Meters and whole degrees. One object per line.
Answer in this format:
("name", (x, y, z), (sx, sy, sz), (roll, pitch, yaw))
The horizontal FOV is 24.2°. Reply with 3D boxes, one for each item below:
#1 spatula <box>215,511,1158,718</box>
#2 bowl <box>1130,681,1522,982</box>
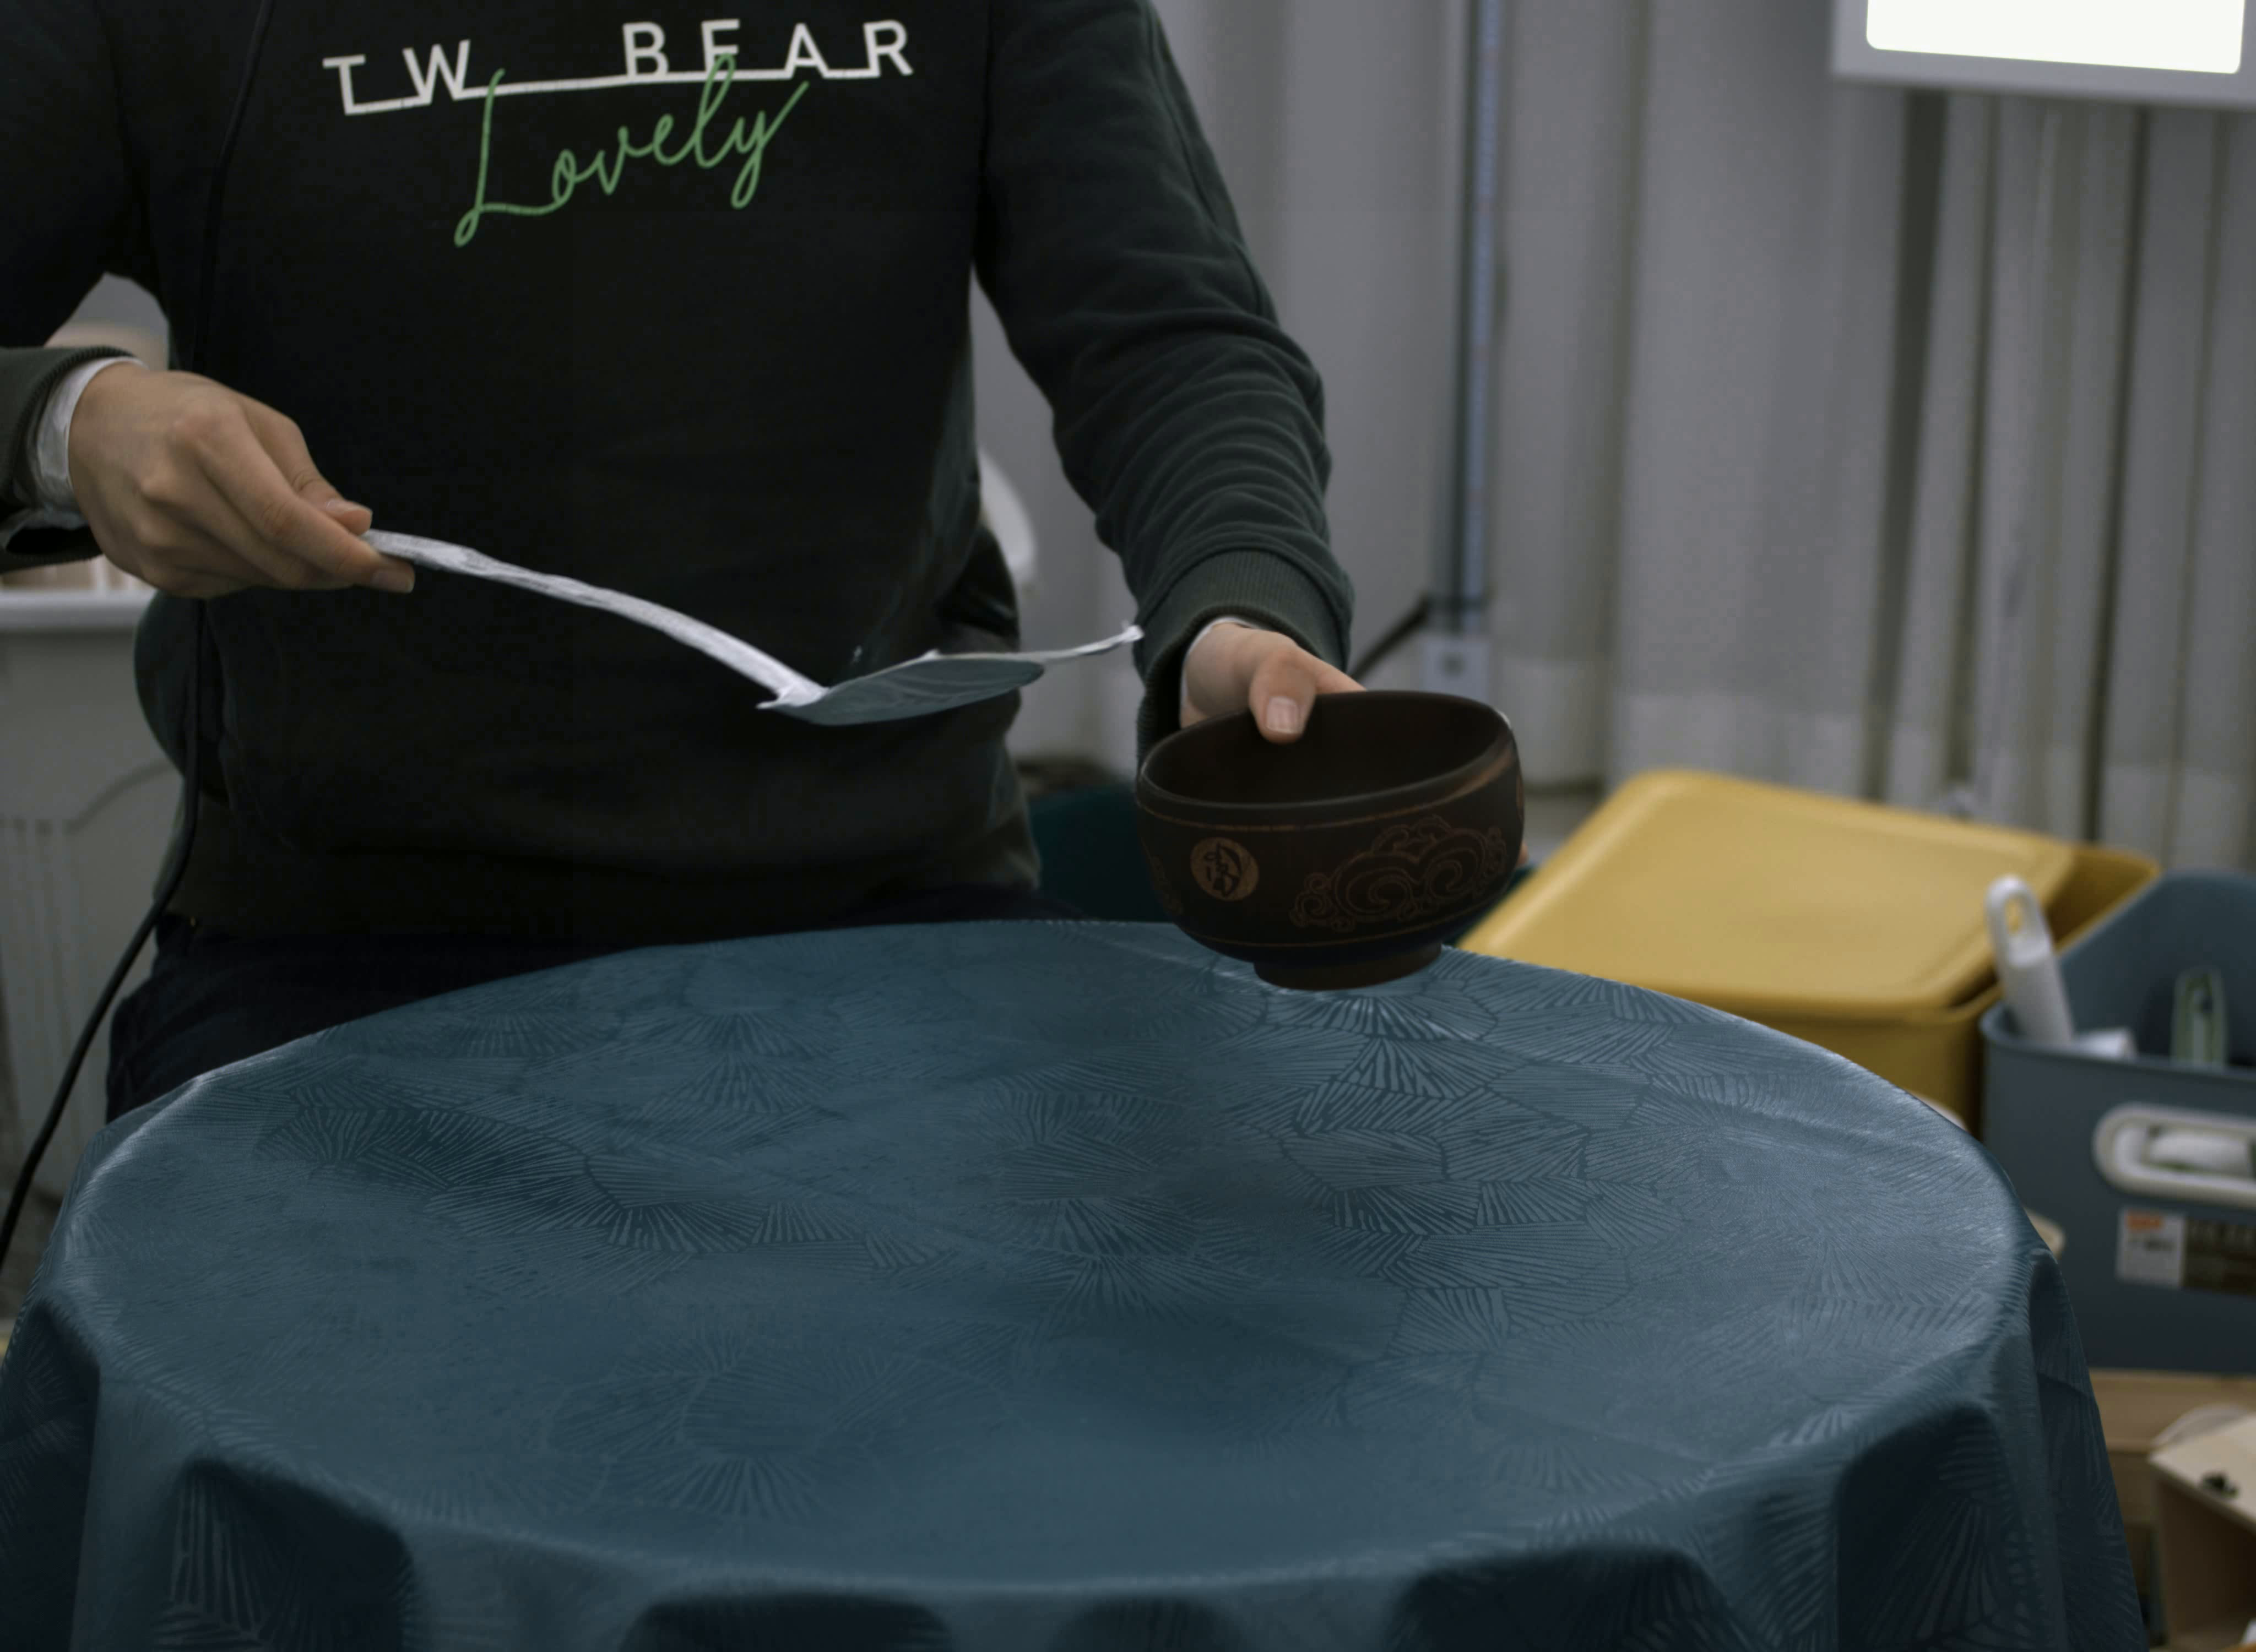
("spatula", (-0.154, -0.075, 1.588), (0.360, 0.045, 0.099), (16, 18, 34))
("bowl", (0.061, 0.005, 1.591), (0.117, 0.070, 0.117), (-5, 17, 2))
